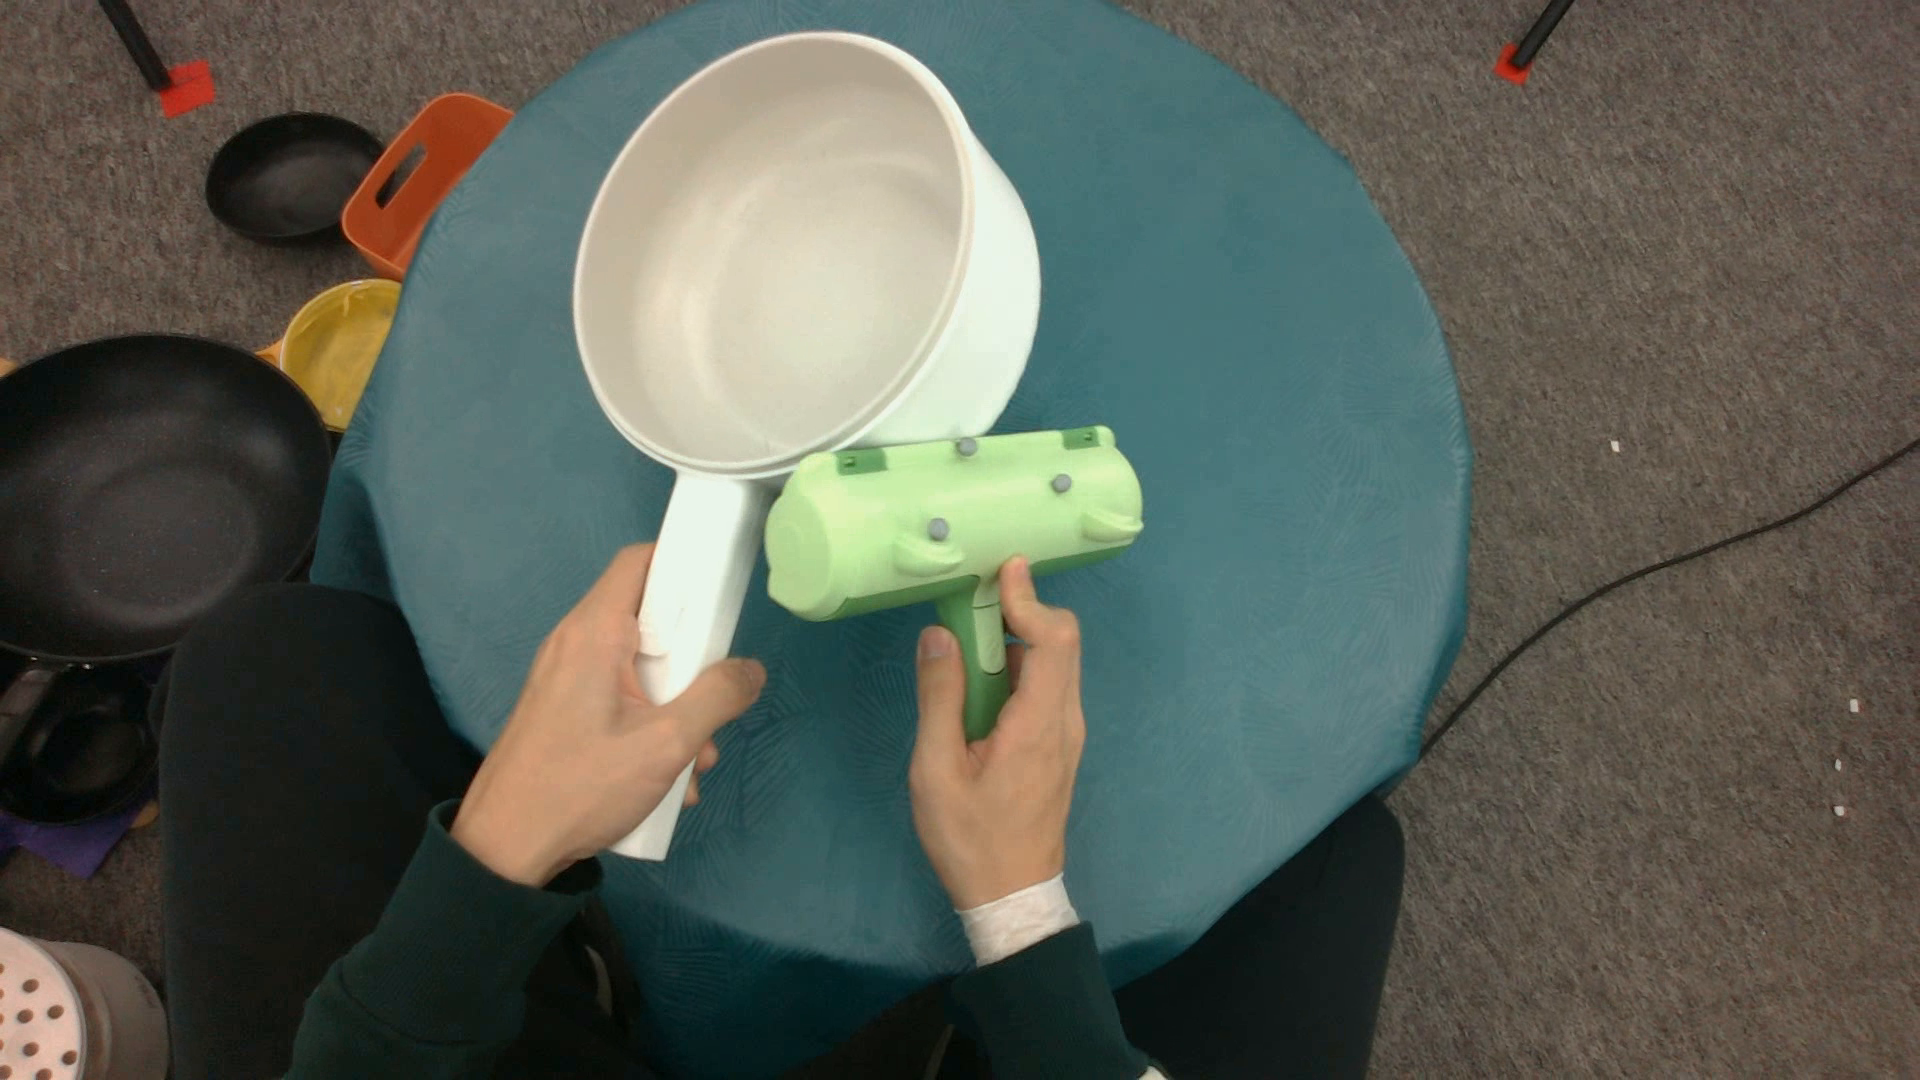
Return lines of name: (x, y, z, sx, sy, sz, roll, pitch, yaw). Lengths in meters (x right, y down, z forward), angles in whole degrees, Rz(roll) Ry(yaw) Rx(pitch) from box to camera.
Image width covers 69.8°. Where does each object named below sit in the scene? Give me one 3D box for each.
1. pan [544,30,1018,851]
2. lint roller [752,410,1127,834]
pan: (-0.091, -0.041, 0.610, 0.201, 0.102, 0.355, 9, 81, 26)
lint roller: (0.010, 0.040, 0.598, 0.199, 0.082, 0.183, -11, 93, -47)
